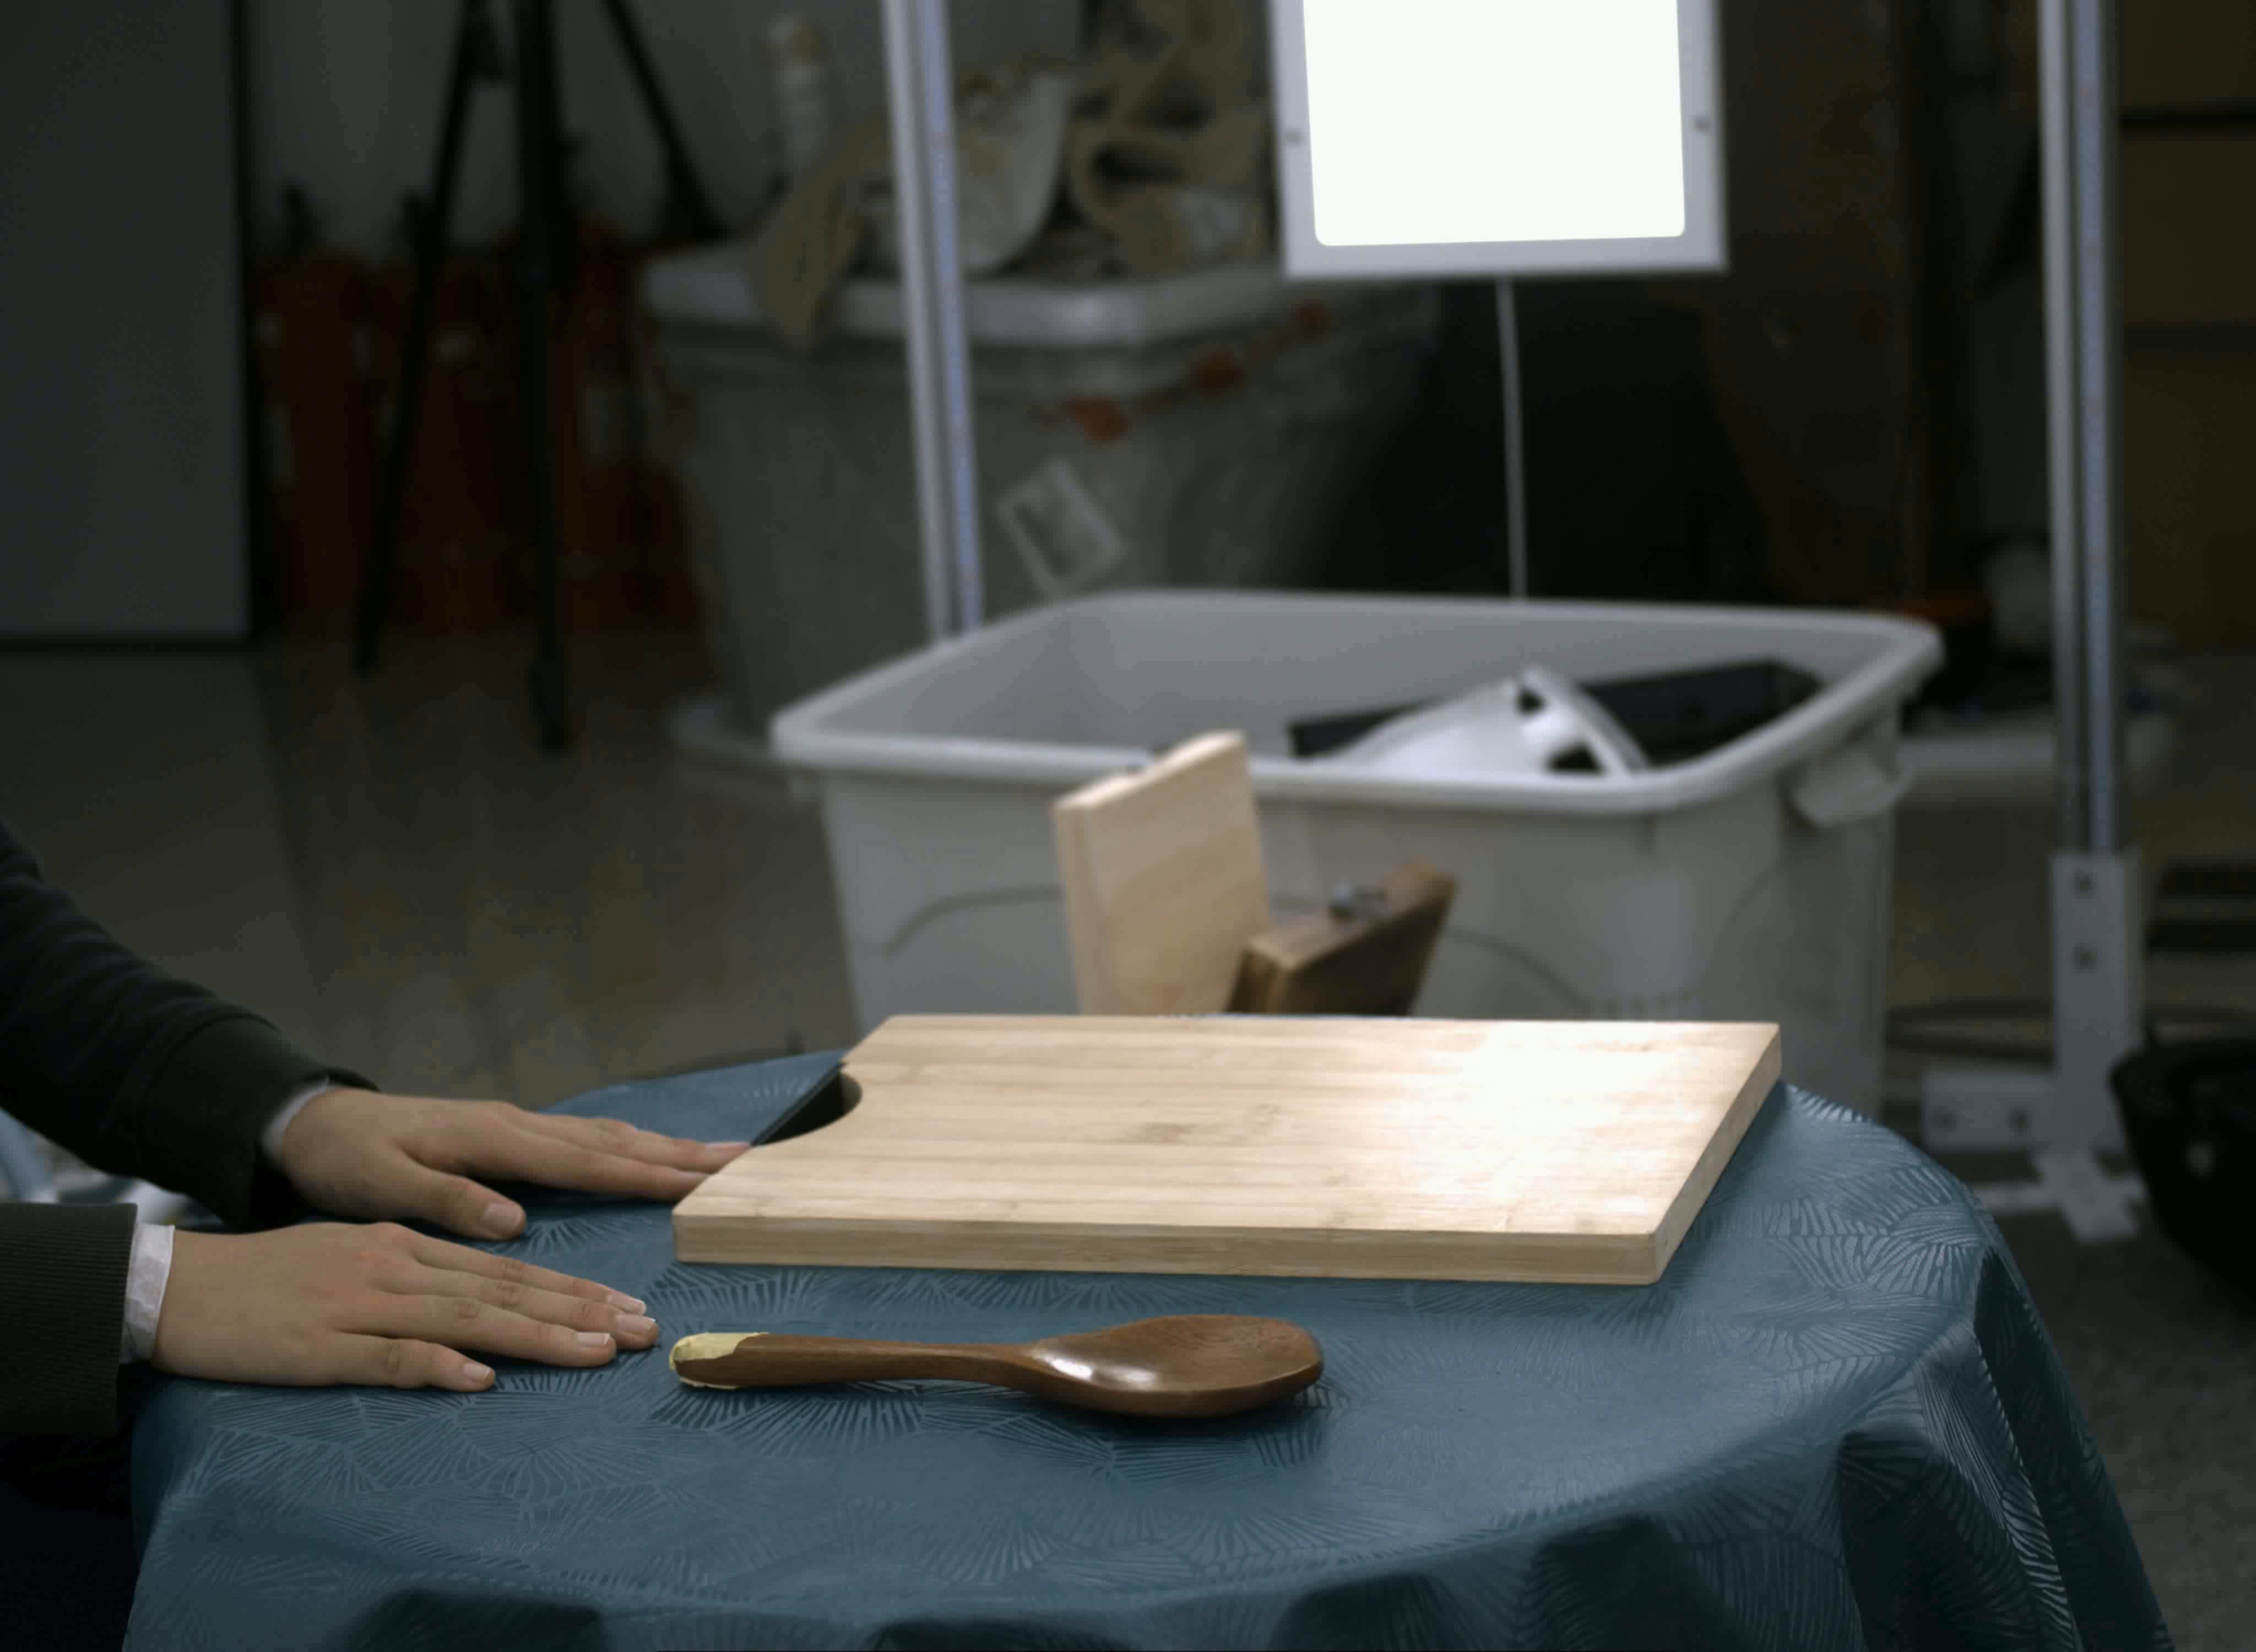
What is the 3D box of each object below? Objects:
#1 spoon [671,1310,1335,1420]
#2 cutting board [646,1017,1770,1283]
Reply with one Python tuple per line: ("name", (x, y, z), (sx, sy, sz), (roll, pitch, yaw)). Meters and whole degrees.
("spoon", (-0.040, 0.167, 1.710), (0.218, 0.017, 0.074), (0, 15, 20))
("cutting board", (0.034, 0.110, 1.920), (0.353, 0.023, 0.247), (-1, 14, 18))
